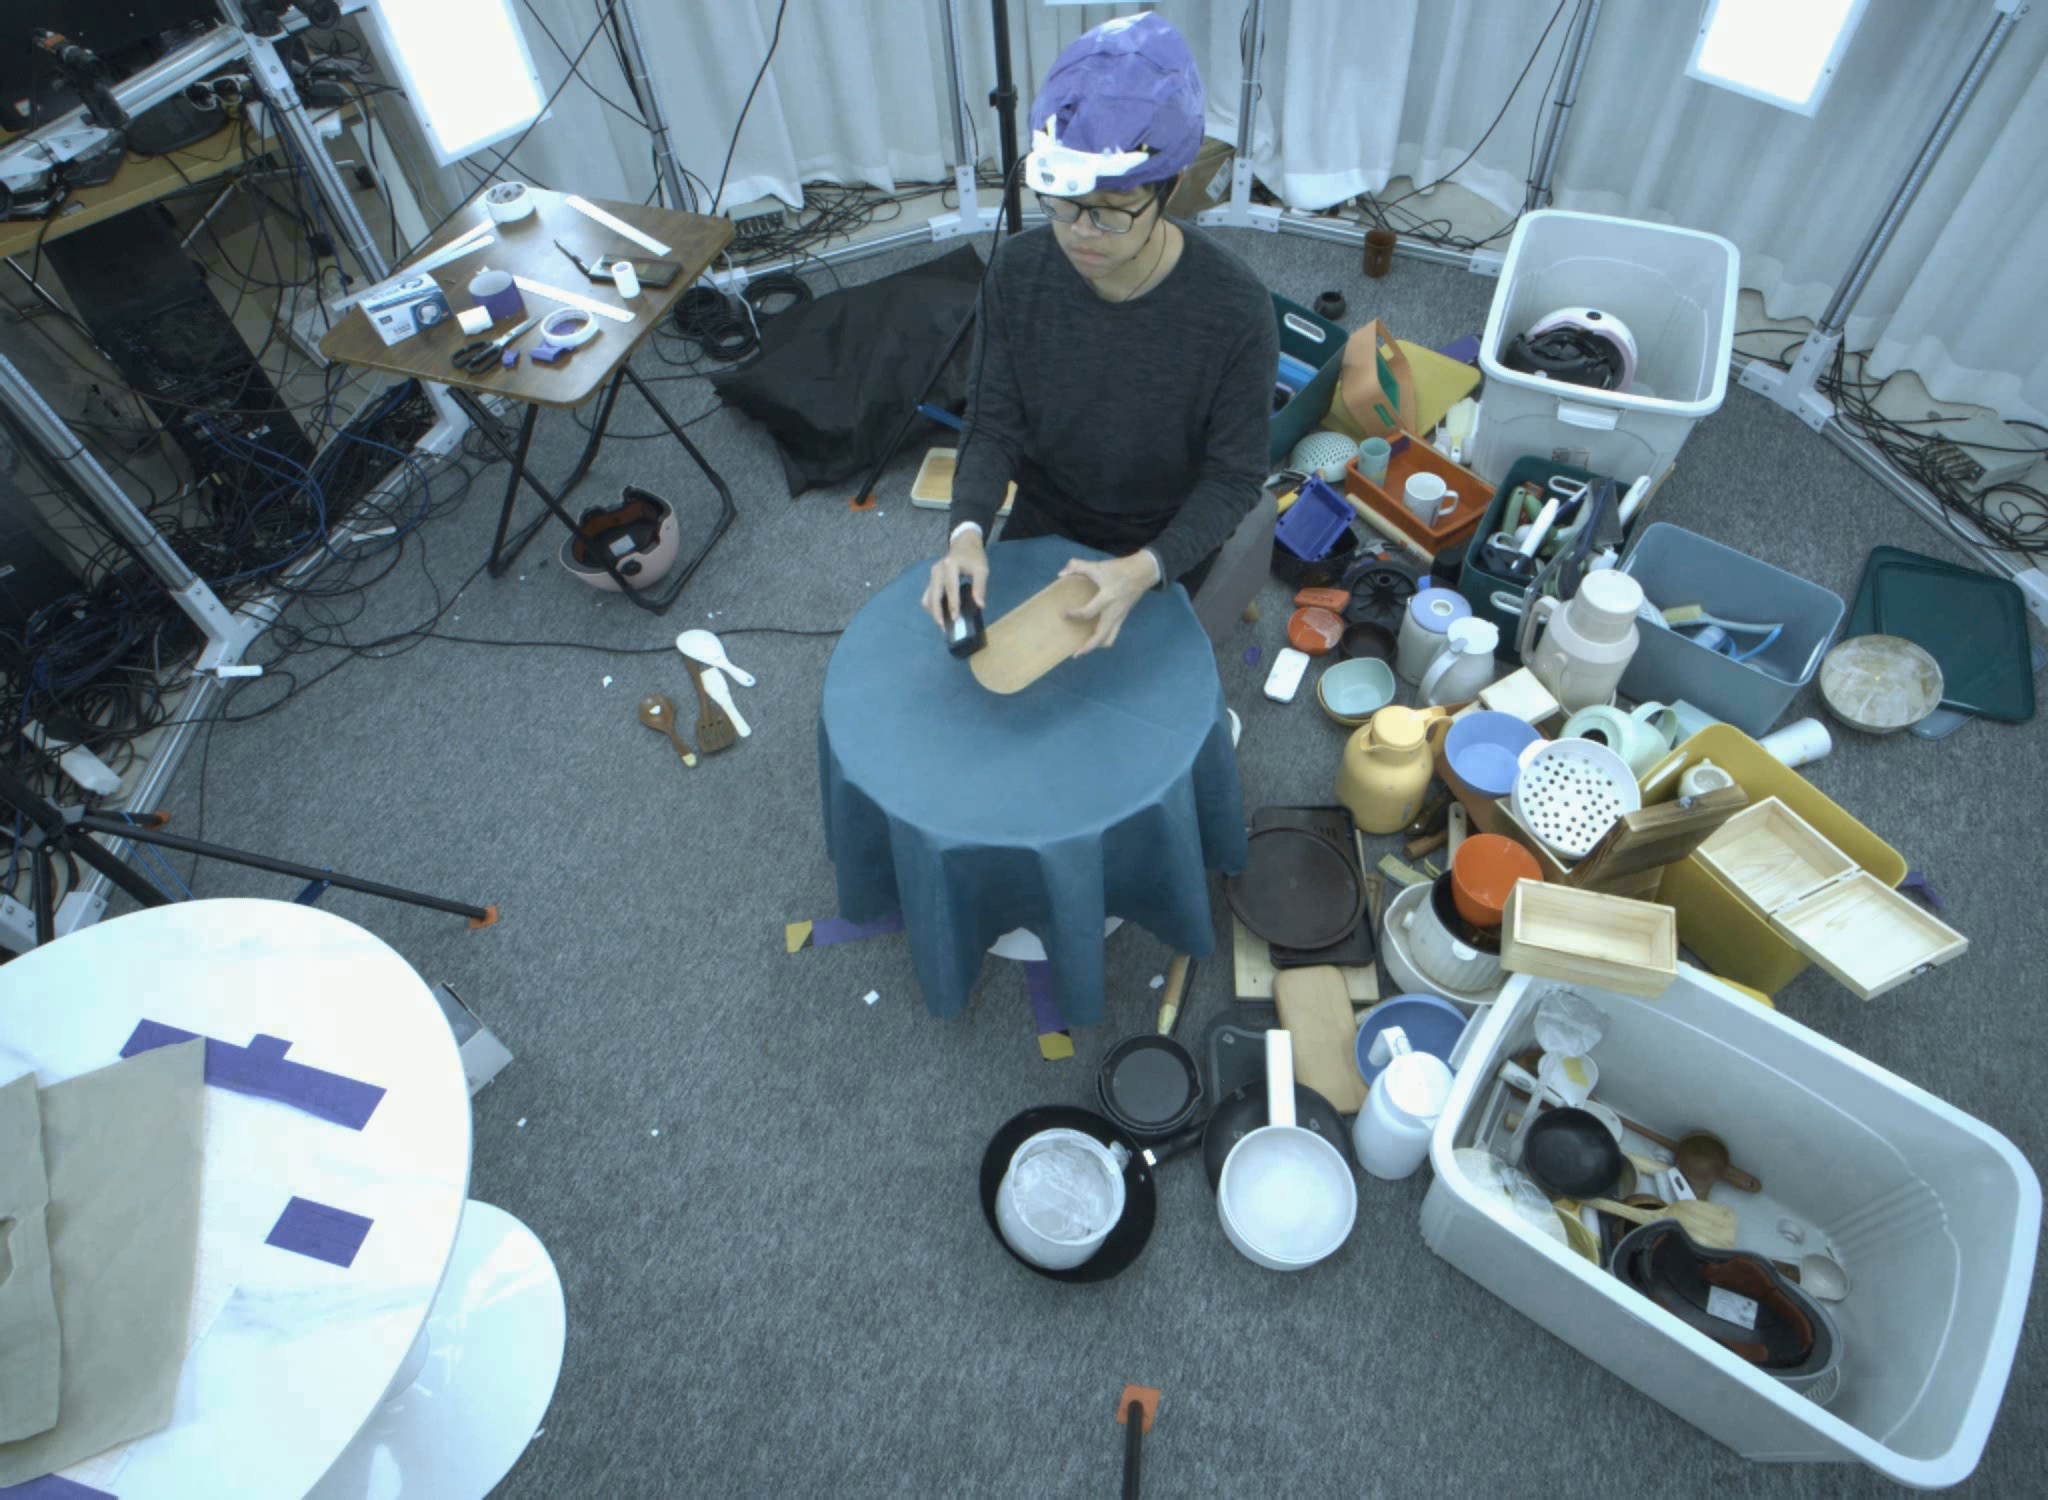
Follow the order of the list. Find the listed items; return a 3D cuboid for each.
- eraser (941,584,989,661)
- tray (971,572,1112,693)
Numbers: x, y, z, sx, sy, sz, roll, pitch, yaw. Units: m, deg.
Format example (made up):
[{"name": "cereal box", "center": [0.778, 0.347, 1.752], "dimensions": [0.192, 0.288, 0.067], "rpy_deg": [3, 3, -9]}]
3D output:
[{"name": "eraser", "center": [-0.086, -0.184, 1.760], "dimensions": [0.053, 0.031, 0.123], "rpy_deg": [-27, 44, 14]}, {"name": "tray", "center": [0.026, -0.170, 1.777], "dimensions": [0.232, 0.020, 0.102], "rpy_deg": [-37, 99, -13]}]
